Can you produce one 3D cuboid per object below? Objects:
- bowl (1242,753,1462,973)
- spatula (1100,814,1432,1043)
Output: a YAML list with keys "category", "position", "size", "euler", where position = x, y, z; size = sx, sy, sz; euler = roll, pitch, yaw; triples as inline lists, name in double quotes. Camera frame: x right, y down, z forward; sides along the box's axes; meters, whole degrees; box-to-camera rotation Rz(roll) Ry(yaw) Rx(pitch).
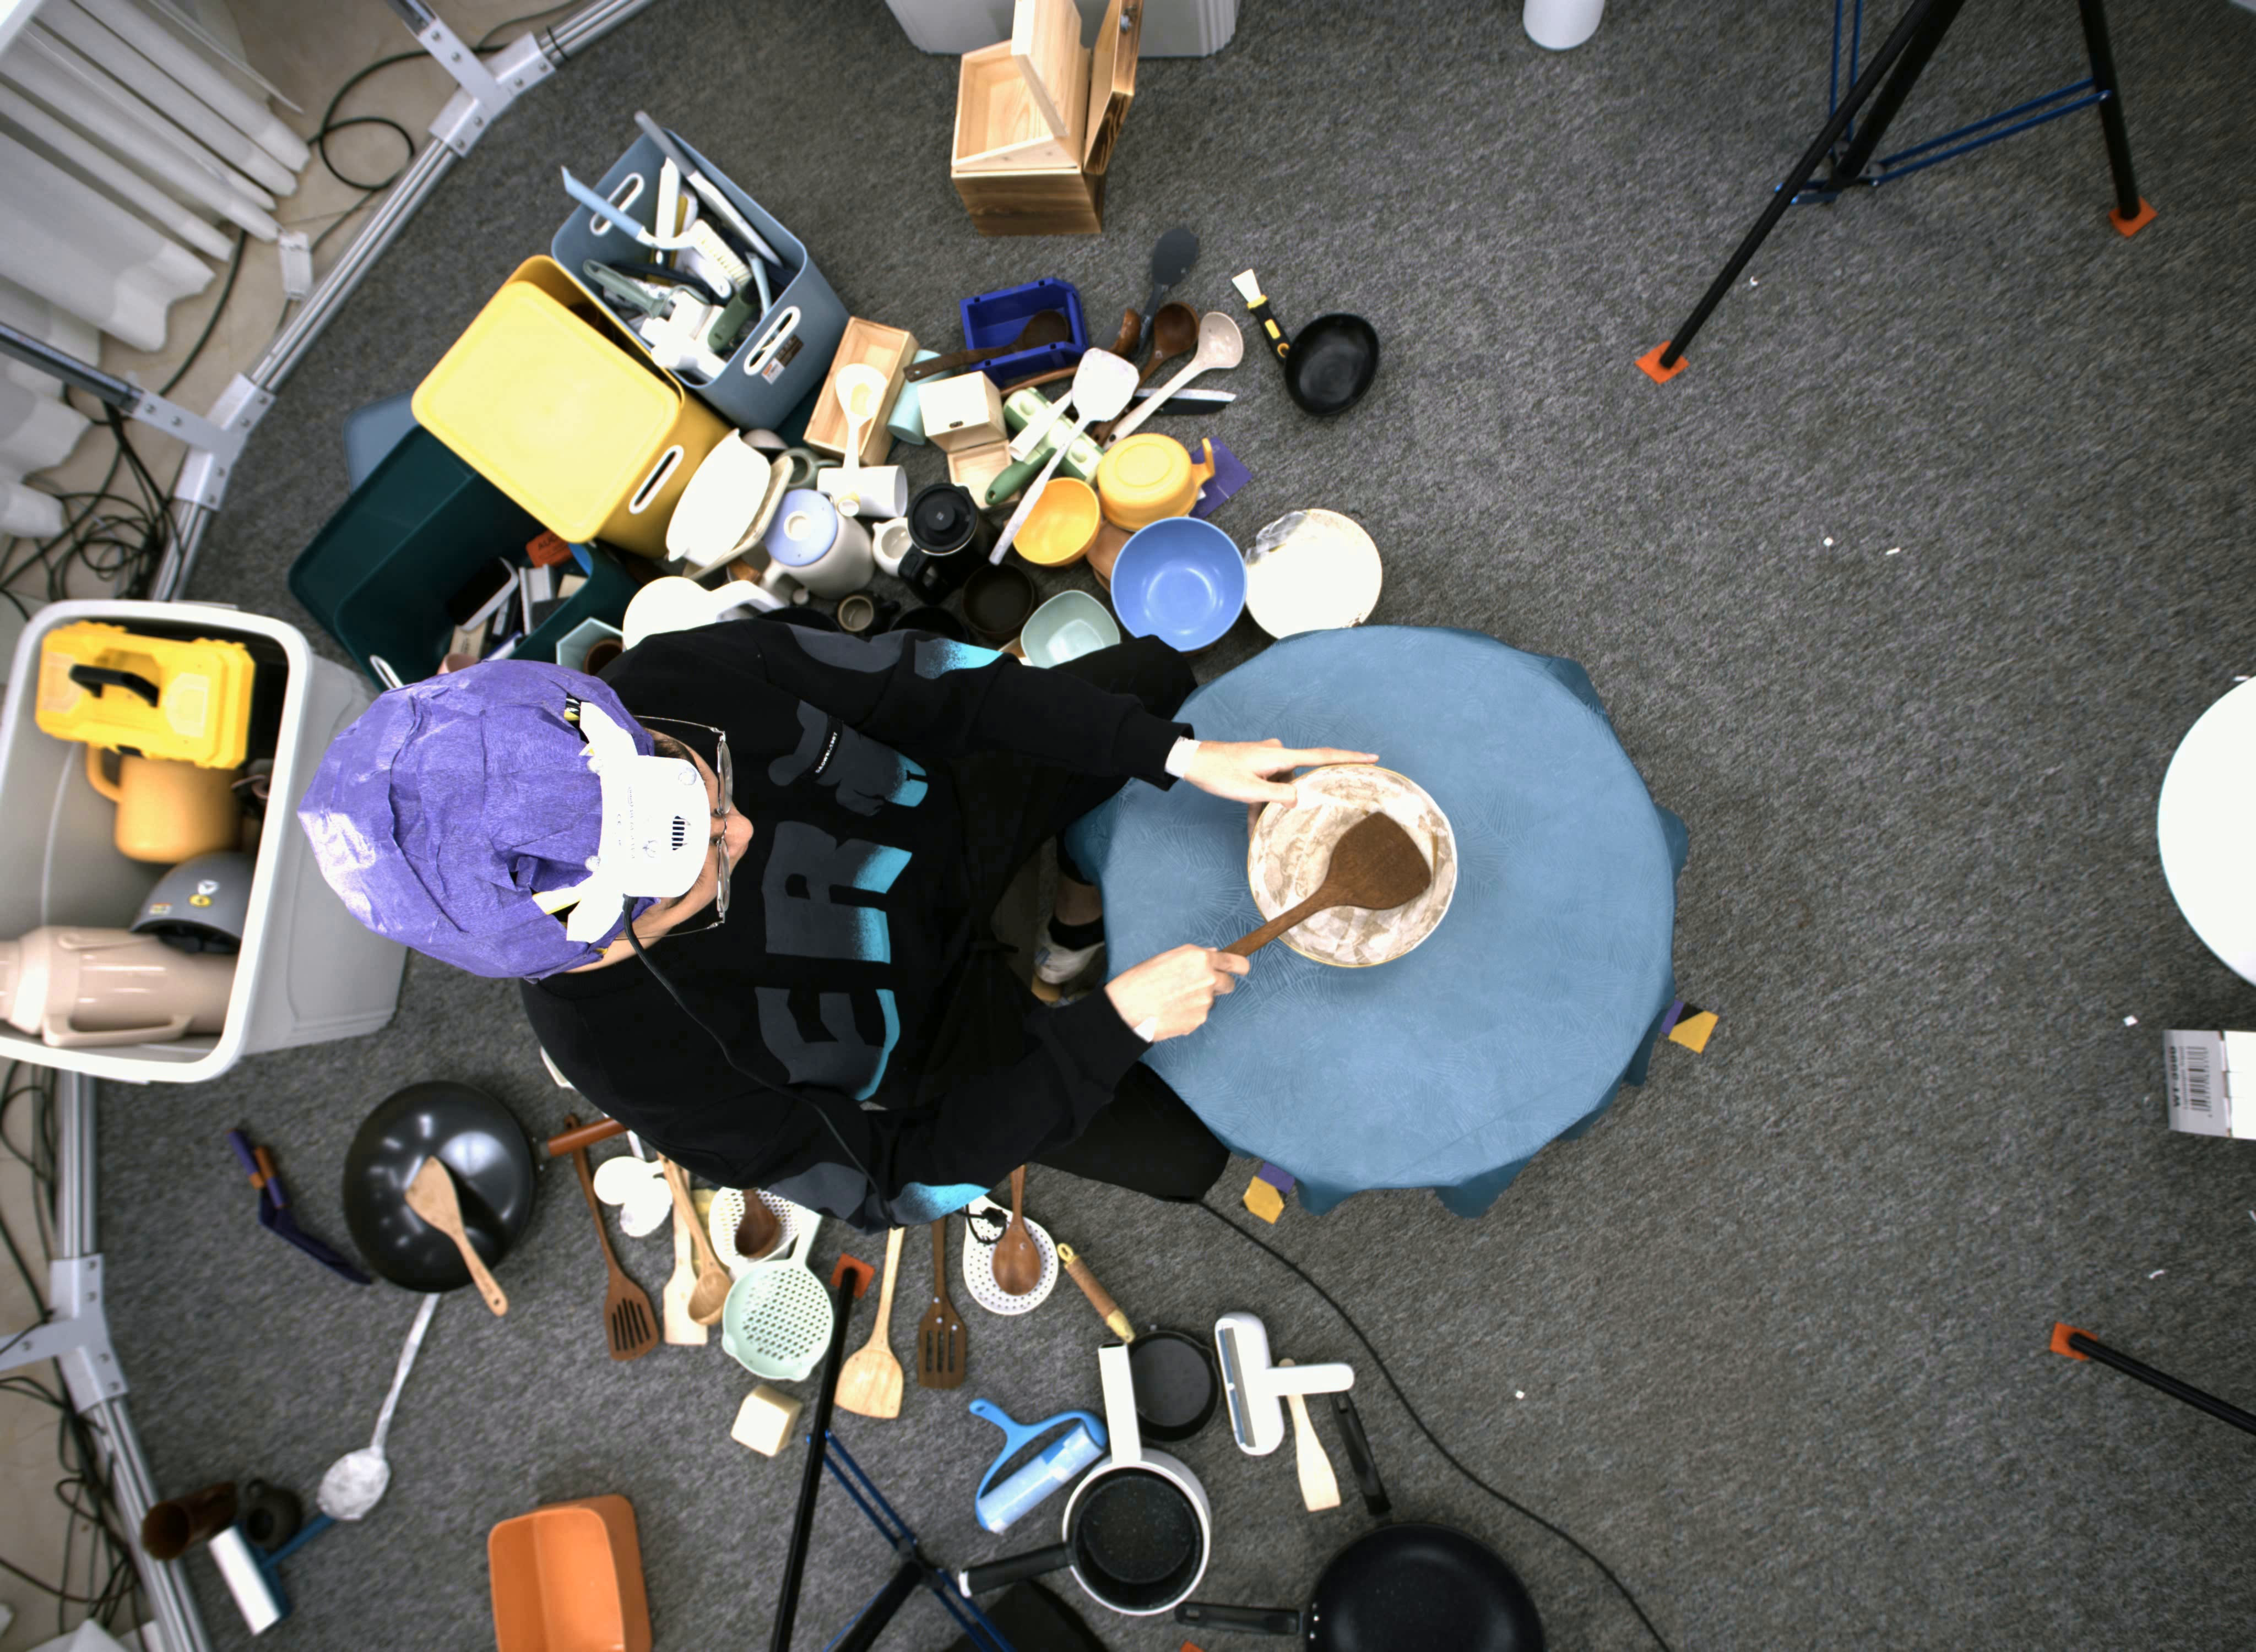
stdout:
- category: "bowl"
  position: [0.223, 0.034, 1.380]
  size: [0.215, 0.094, 0.216]
  euler: [1, 97, 9]
- category: "spatula"
  position: [0.132, 0.103, 1.314]
  size: [0.381, 0.016, 0.095]
  euler: [-29, 77, -23]
